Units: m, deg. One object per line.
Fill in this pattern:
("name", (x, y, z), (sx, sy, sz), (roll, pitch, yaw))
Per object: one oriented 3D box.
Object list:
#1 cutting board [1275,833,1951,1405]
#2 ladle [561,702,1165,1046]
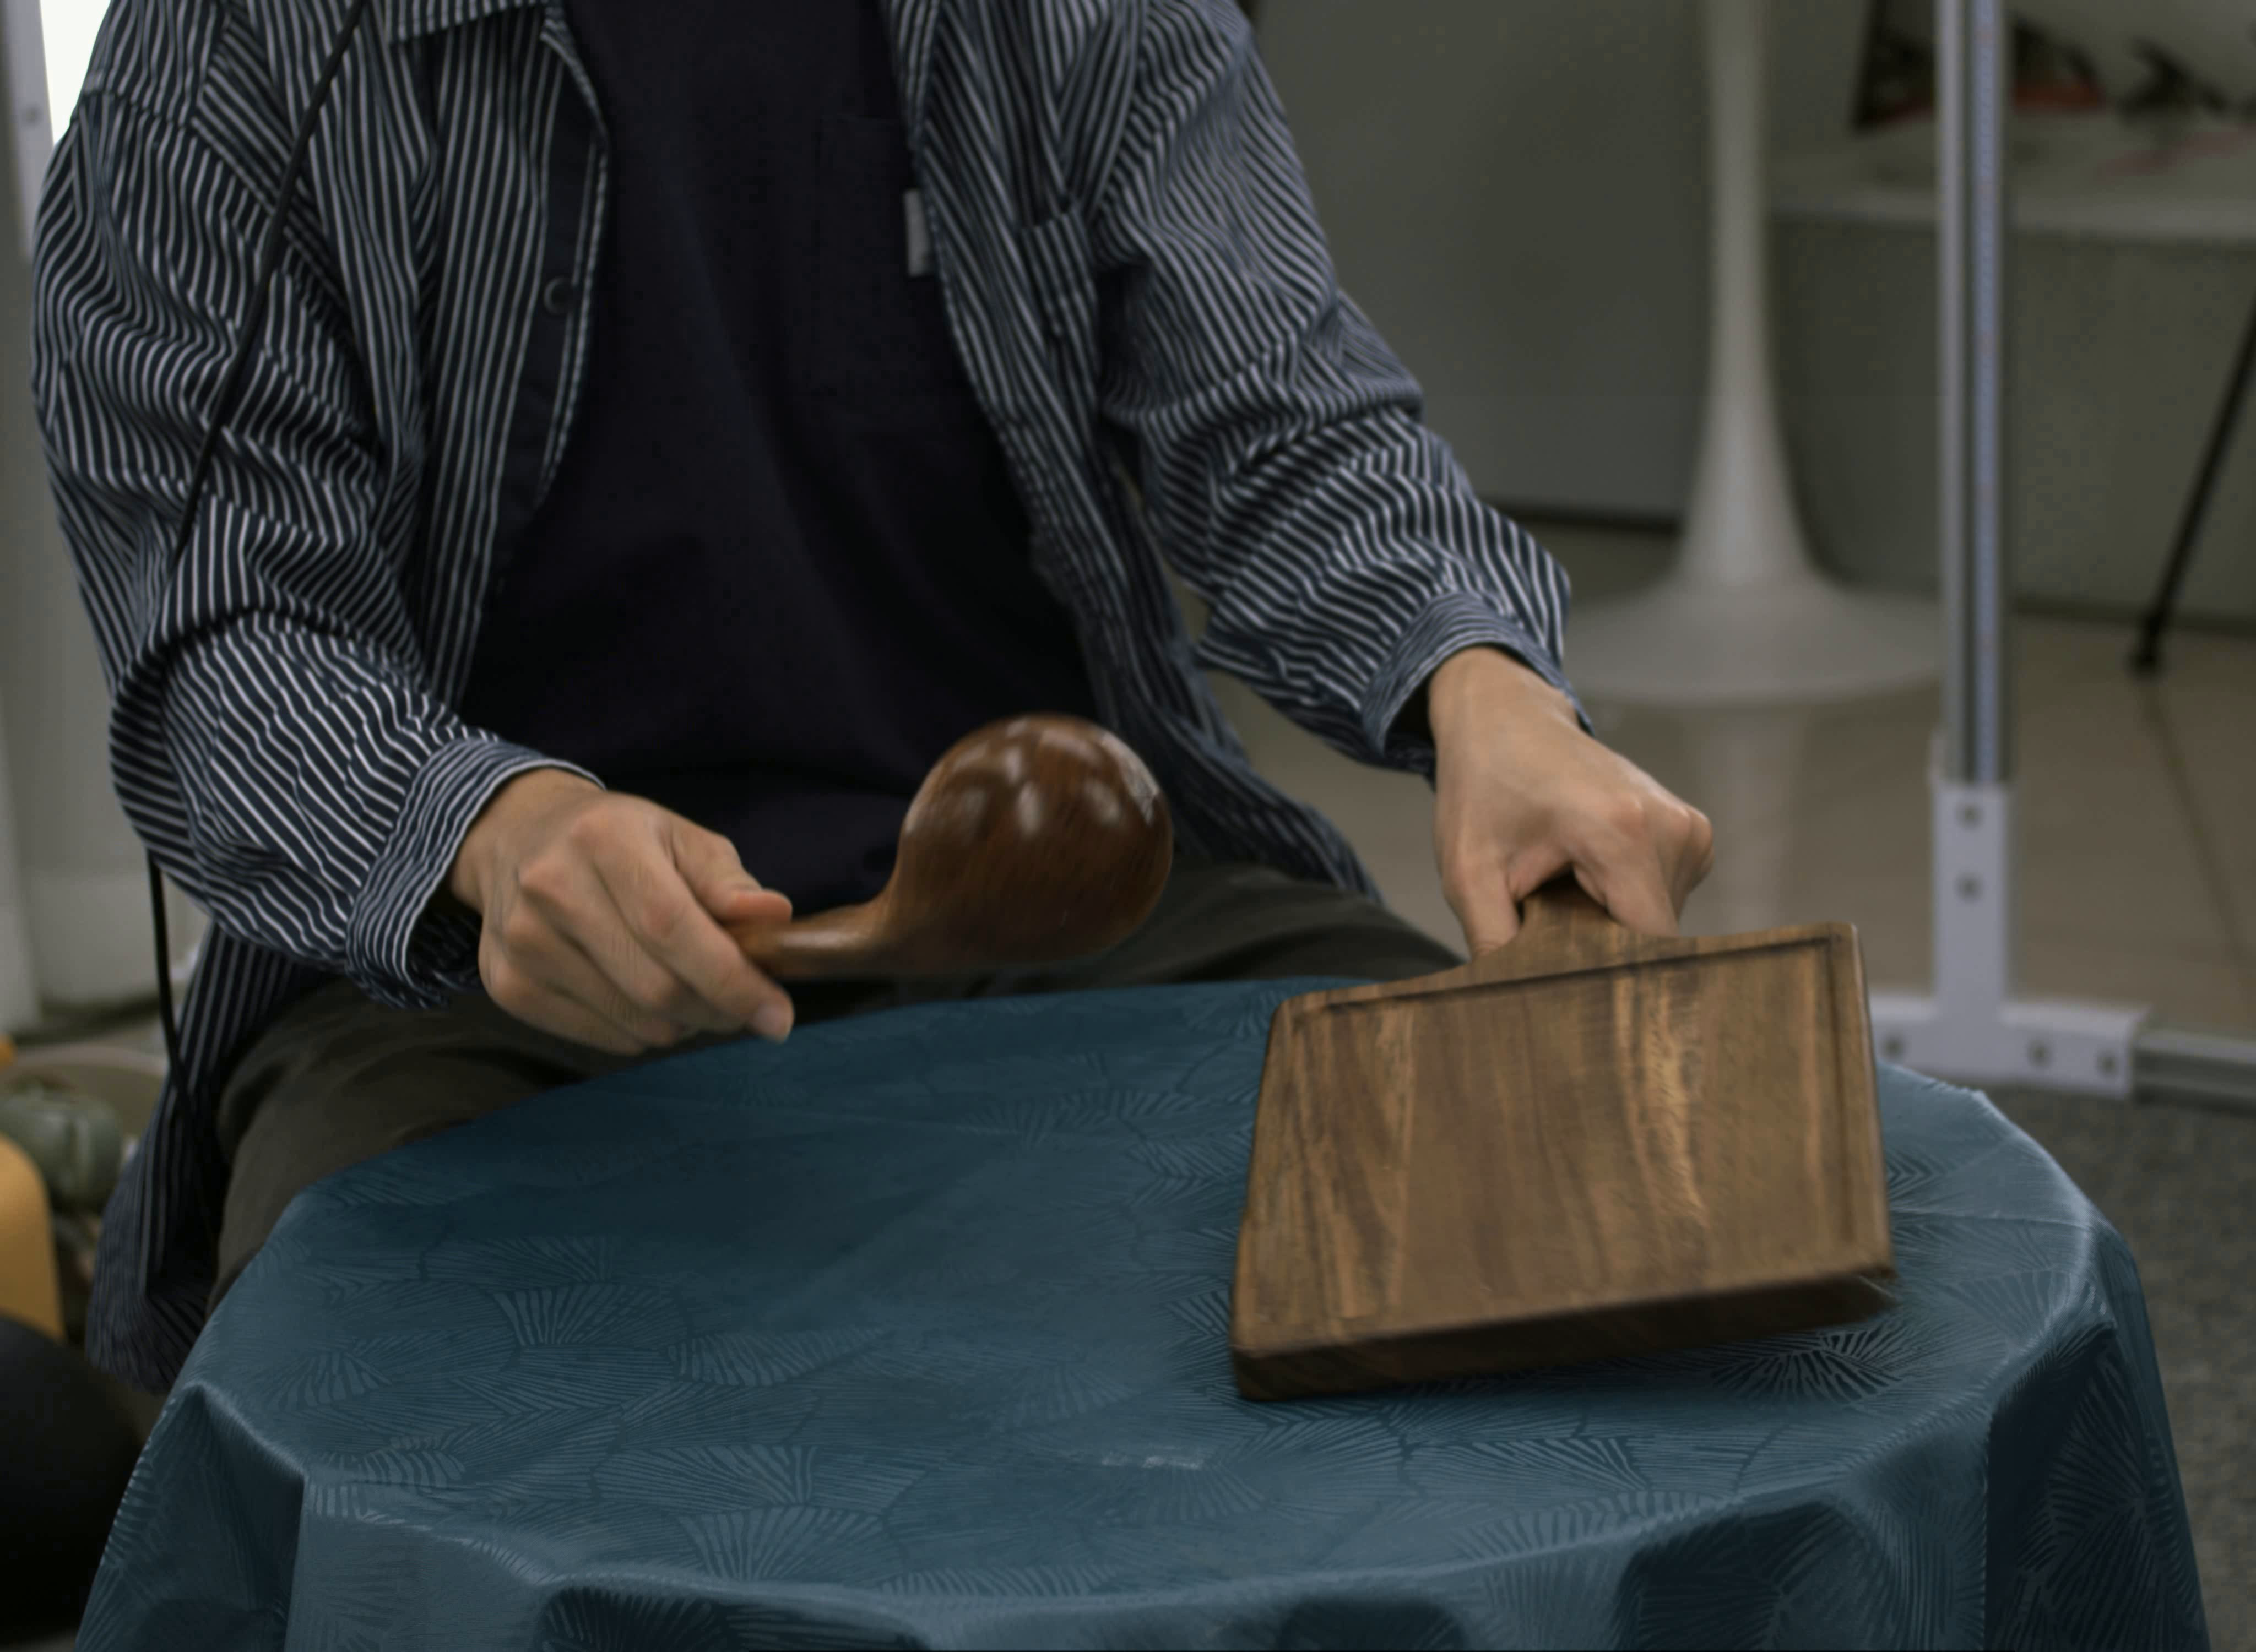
("cutting board", (0.153, 0.080, 1.701), (0.199, 0.023, 0.352), (-8, 22, 10))
("ladle", (-0.088, 0.018, 1.662), (0.277, 0.081, 0.076), (-12, 35, 56))
